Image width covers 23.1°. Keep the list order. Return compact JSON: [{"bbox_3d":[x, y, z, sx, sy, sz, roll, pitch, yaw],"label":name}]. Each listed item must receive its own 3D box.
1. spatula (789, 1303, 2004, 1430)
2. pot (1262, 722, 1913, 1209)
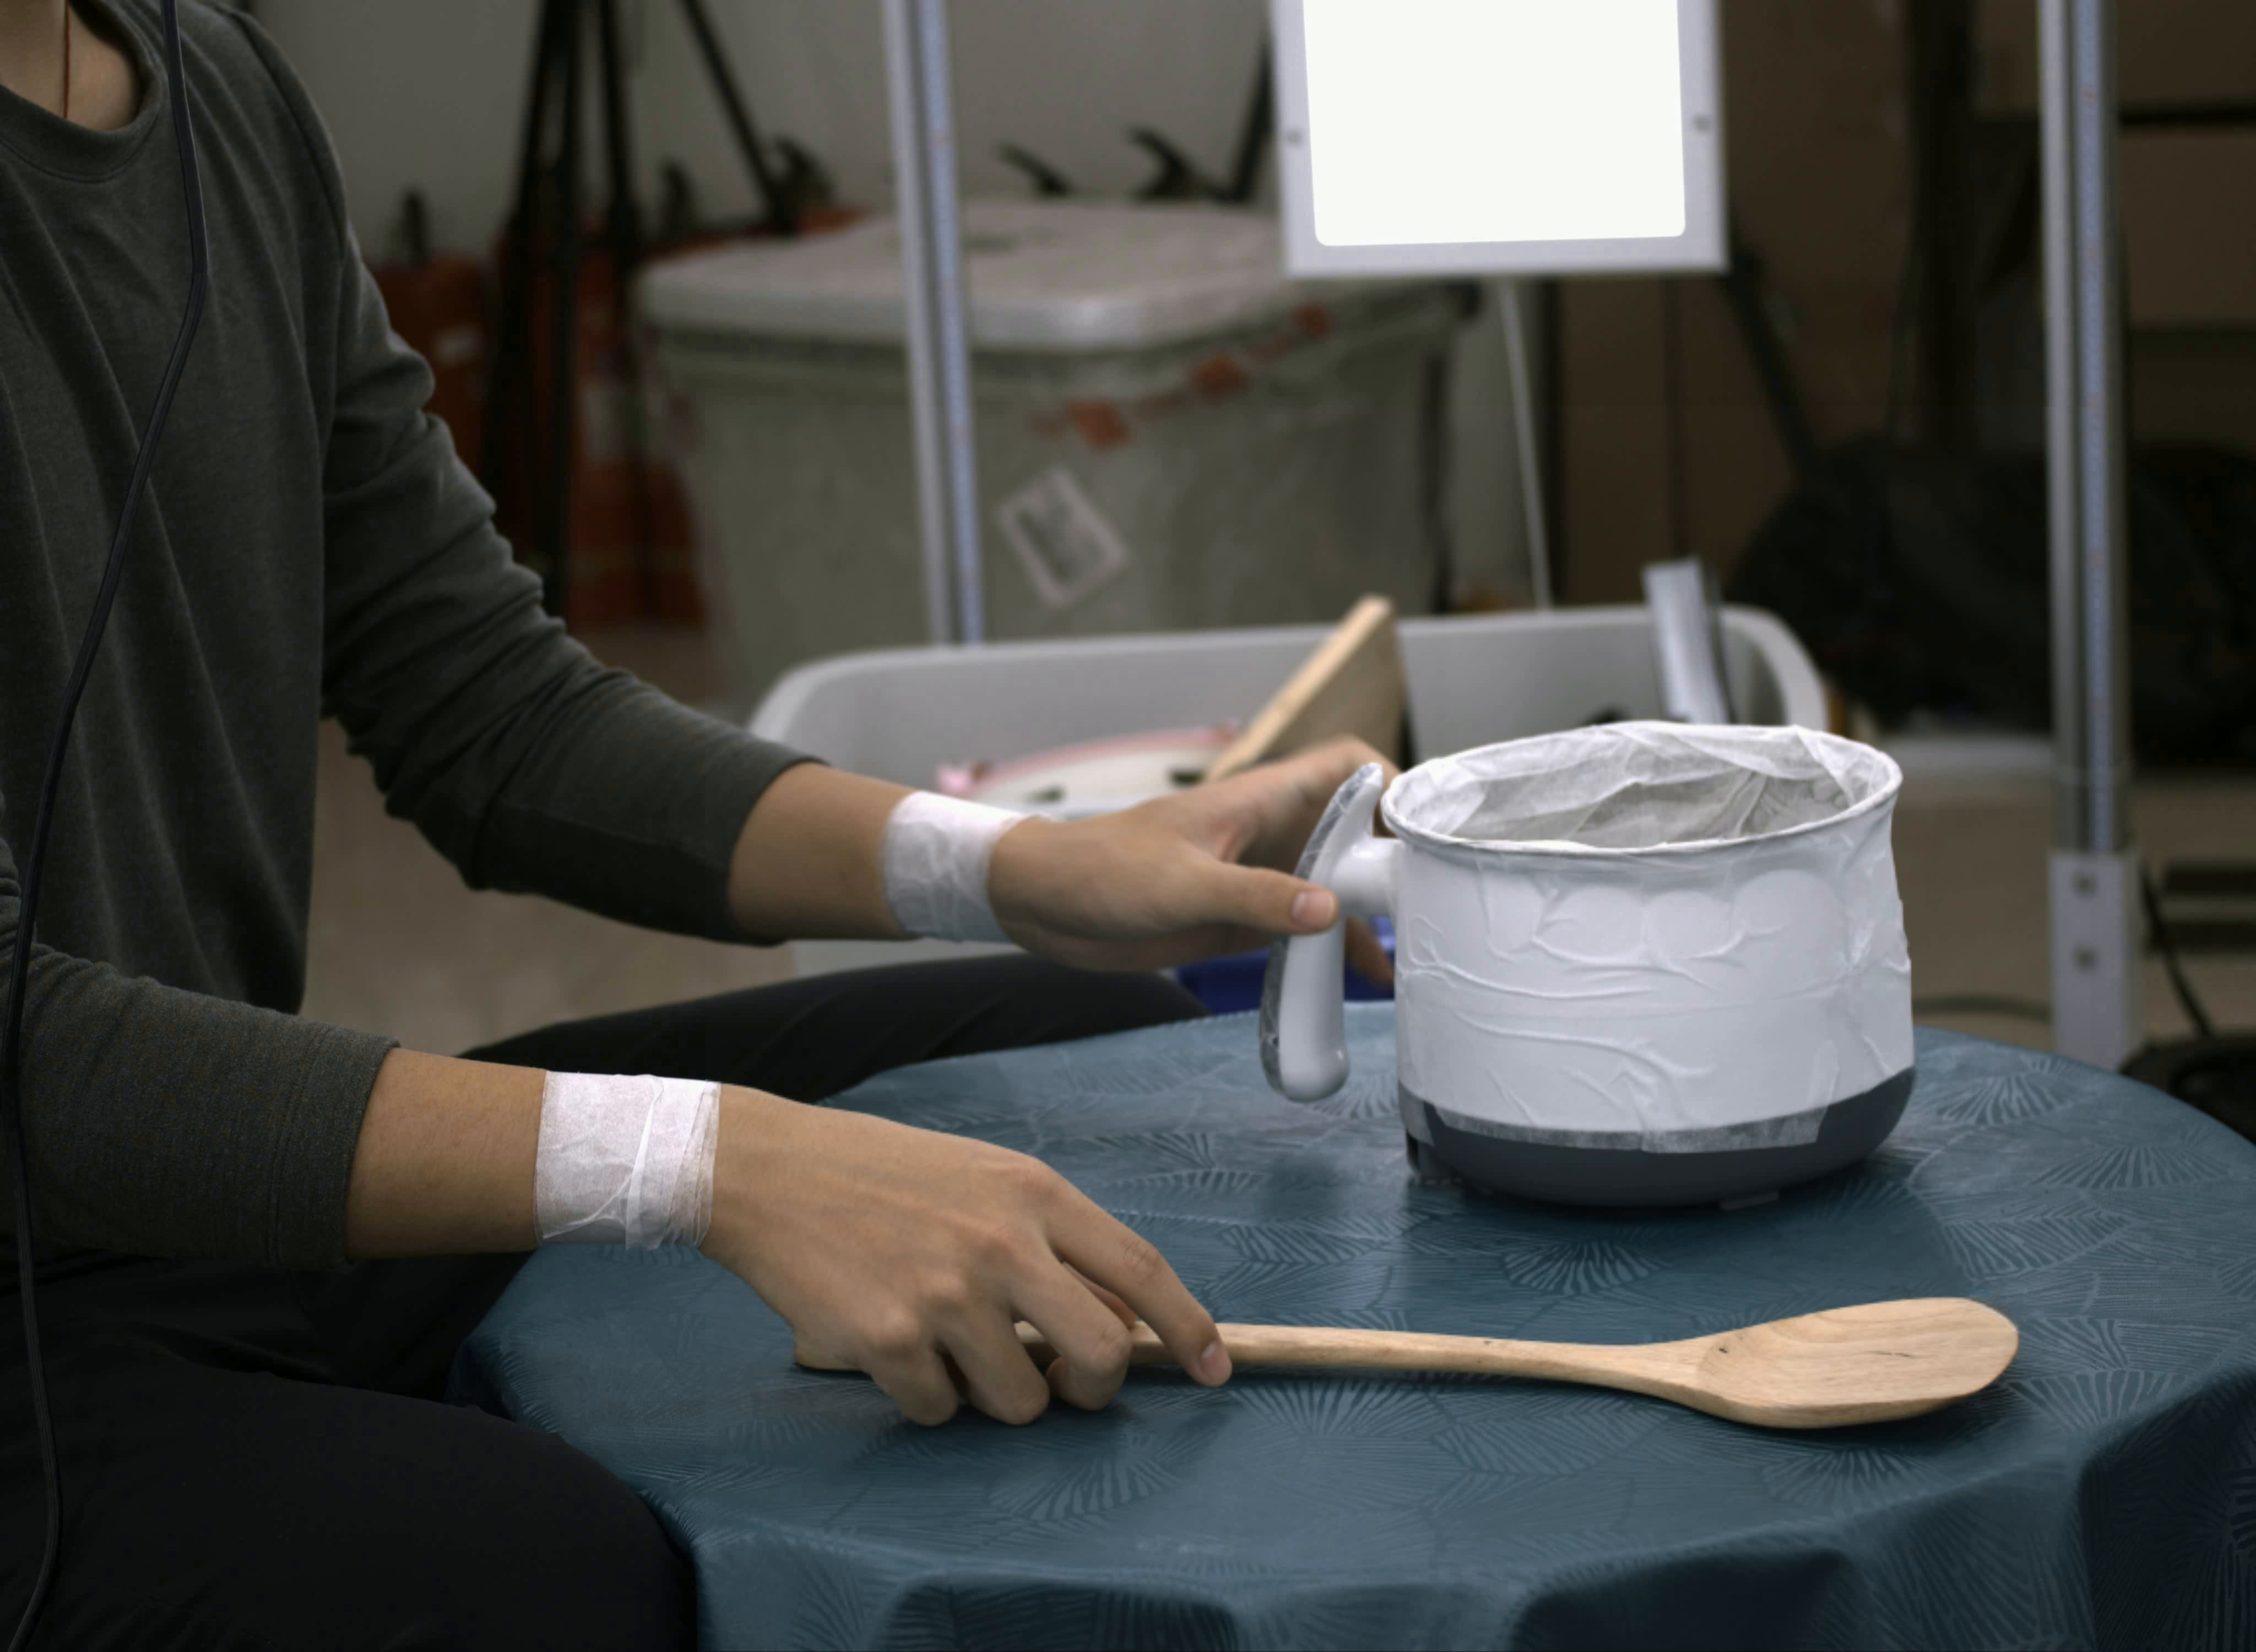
[{"bbox_3d":[0.077,0.163,1.688,0.396,0.018,0.094,0,13,20],"label":"spatula"},{"bbox_3d":[0.154,0.046,1.886,0.237,0.137,0.175,1,15,25],"label":"pot"}]
